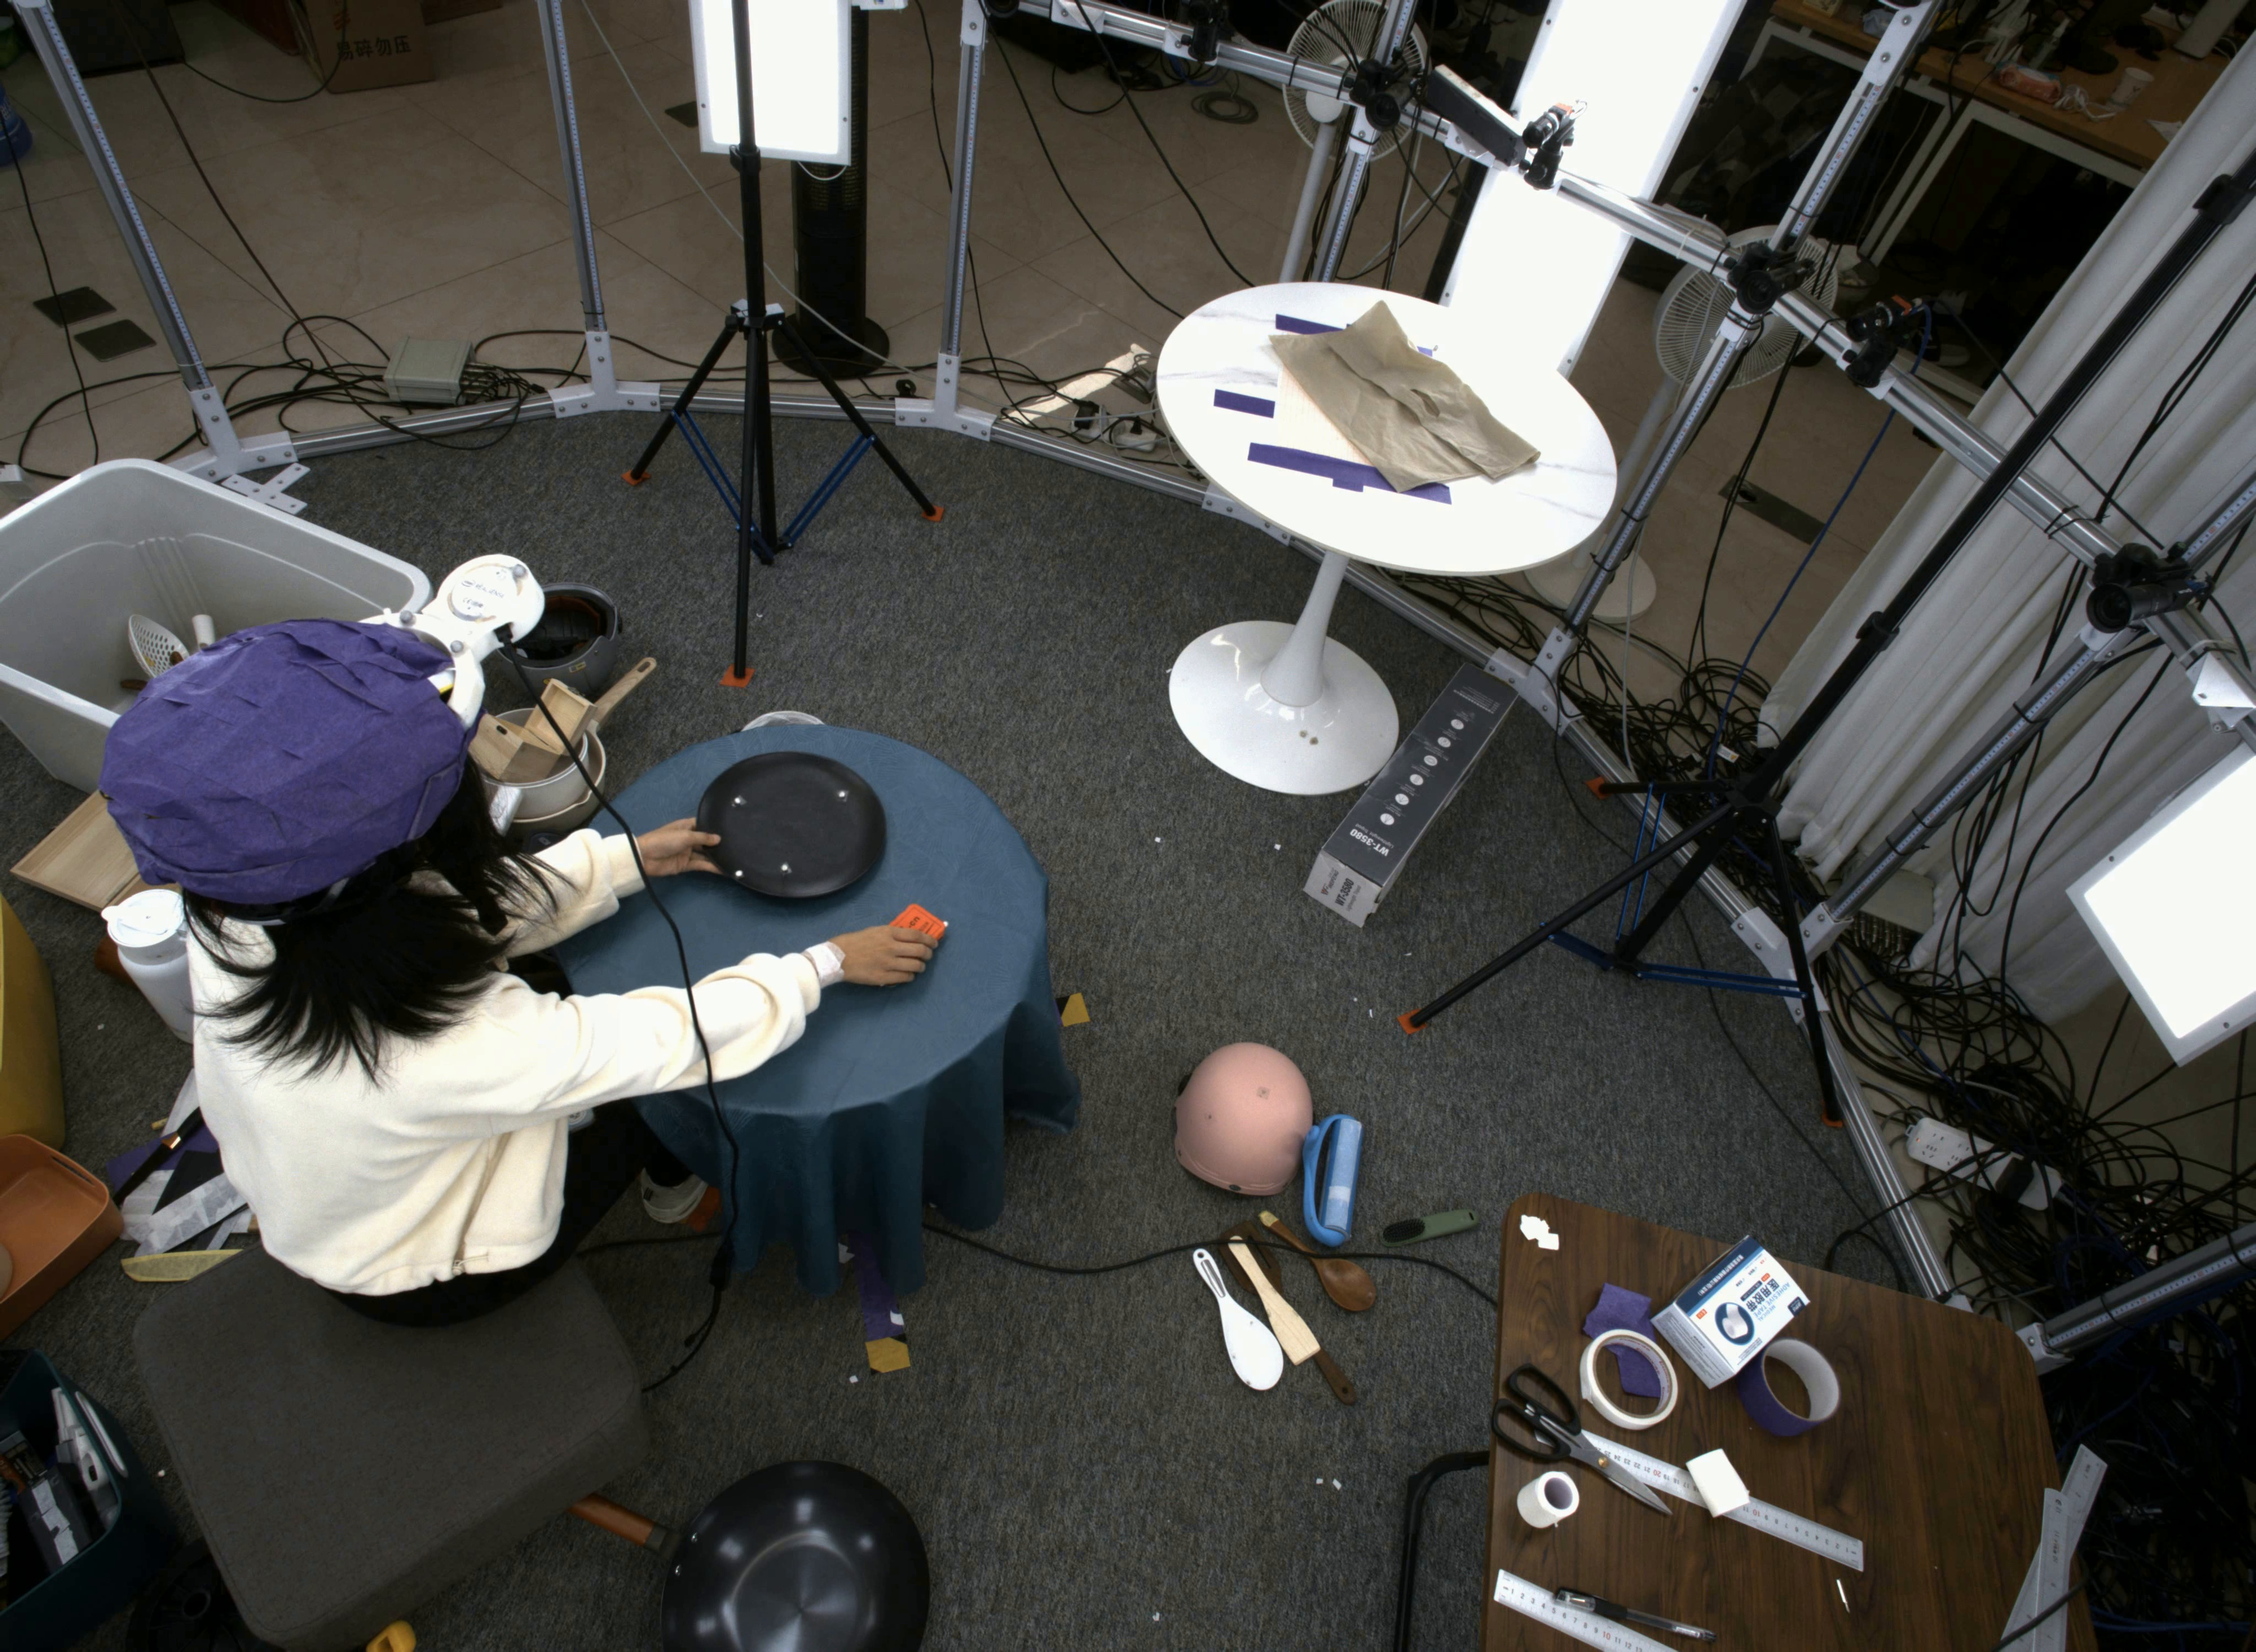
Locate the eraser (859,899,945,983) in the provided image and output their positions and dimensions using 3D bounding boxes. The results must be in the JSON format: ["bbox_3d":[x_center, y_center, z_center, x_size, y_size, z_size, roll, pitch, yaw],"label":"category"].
[{"bbox_3d":[-0.281,0.140,1.621,0.058,0.023,0.108,38,52,8],"label":"eraser"}]

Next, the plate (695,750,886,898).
[{"bbox_3d":[-0.440,-0.002,1.691,0.245,0.024,0.240,11,50,-12],"label":"plate"}]
